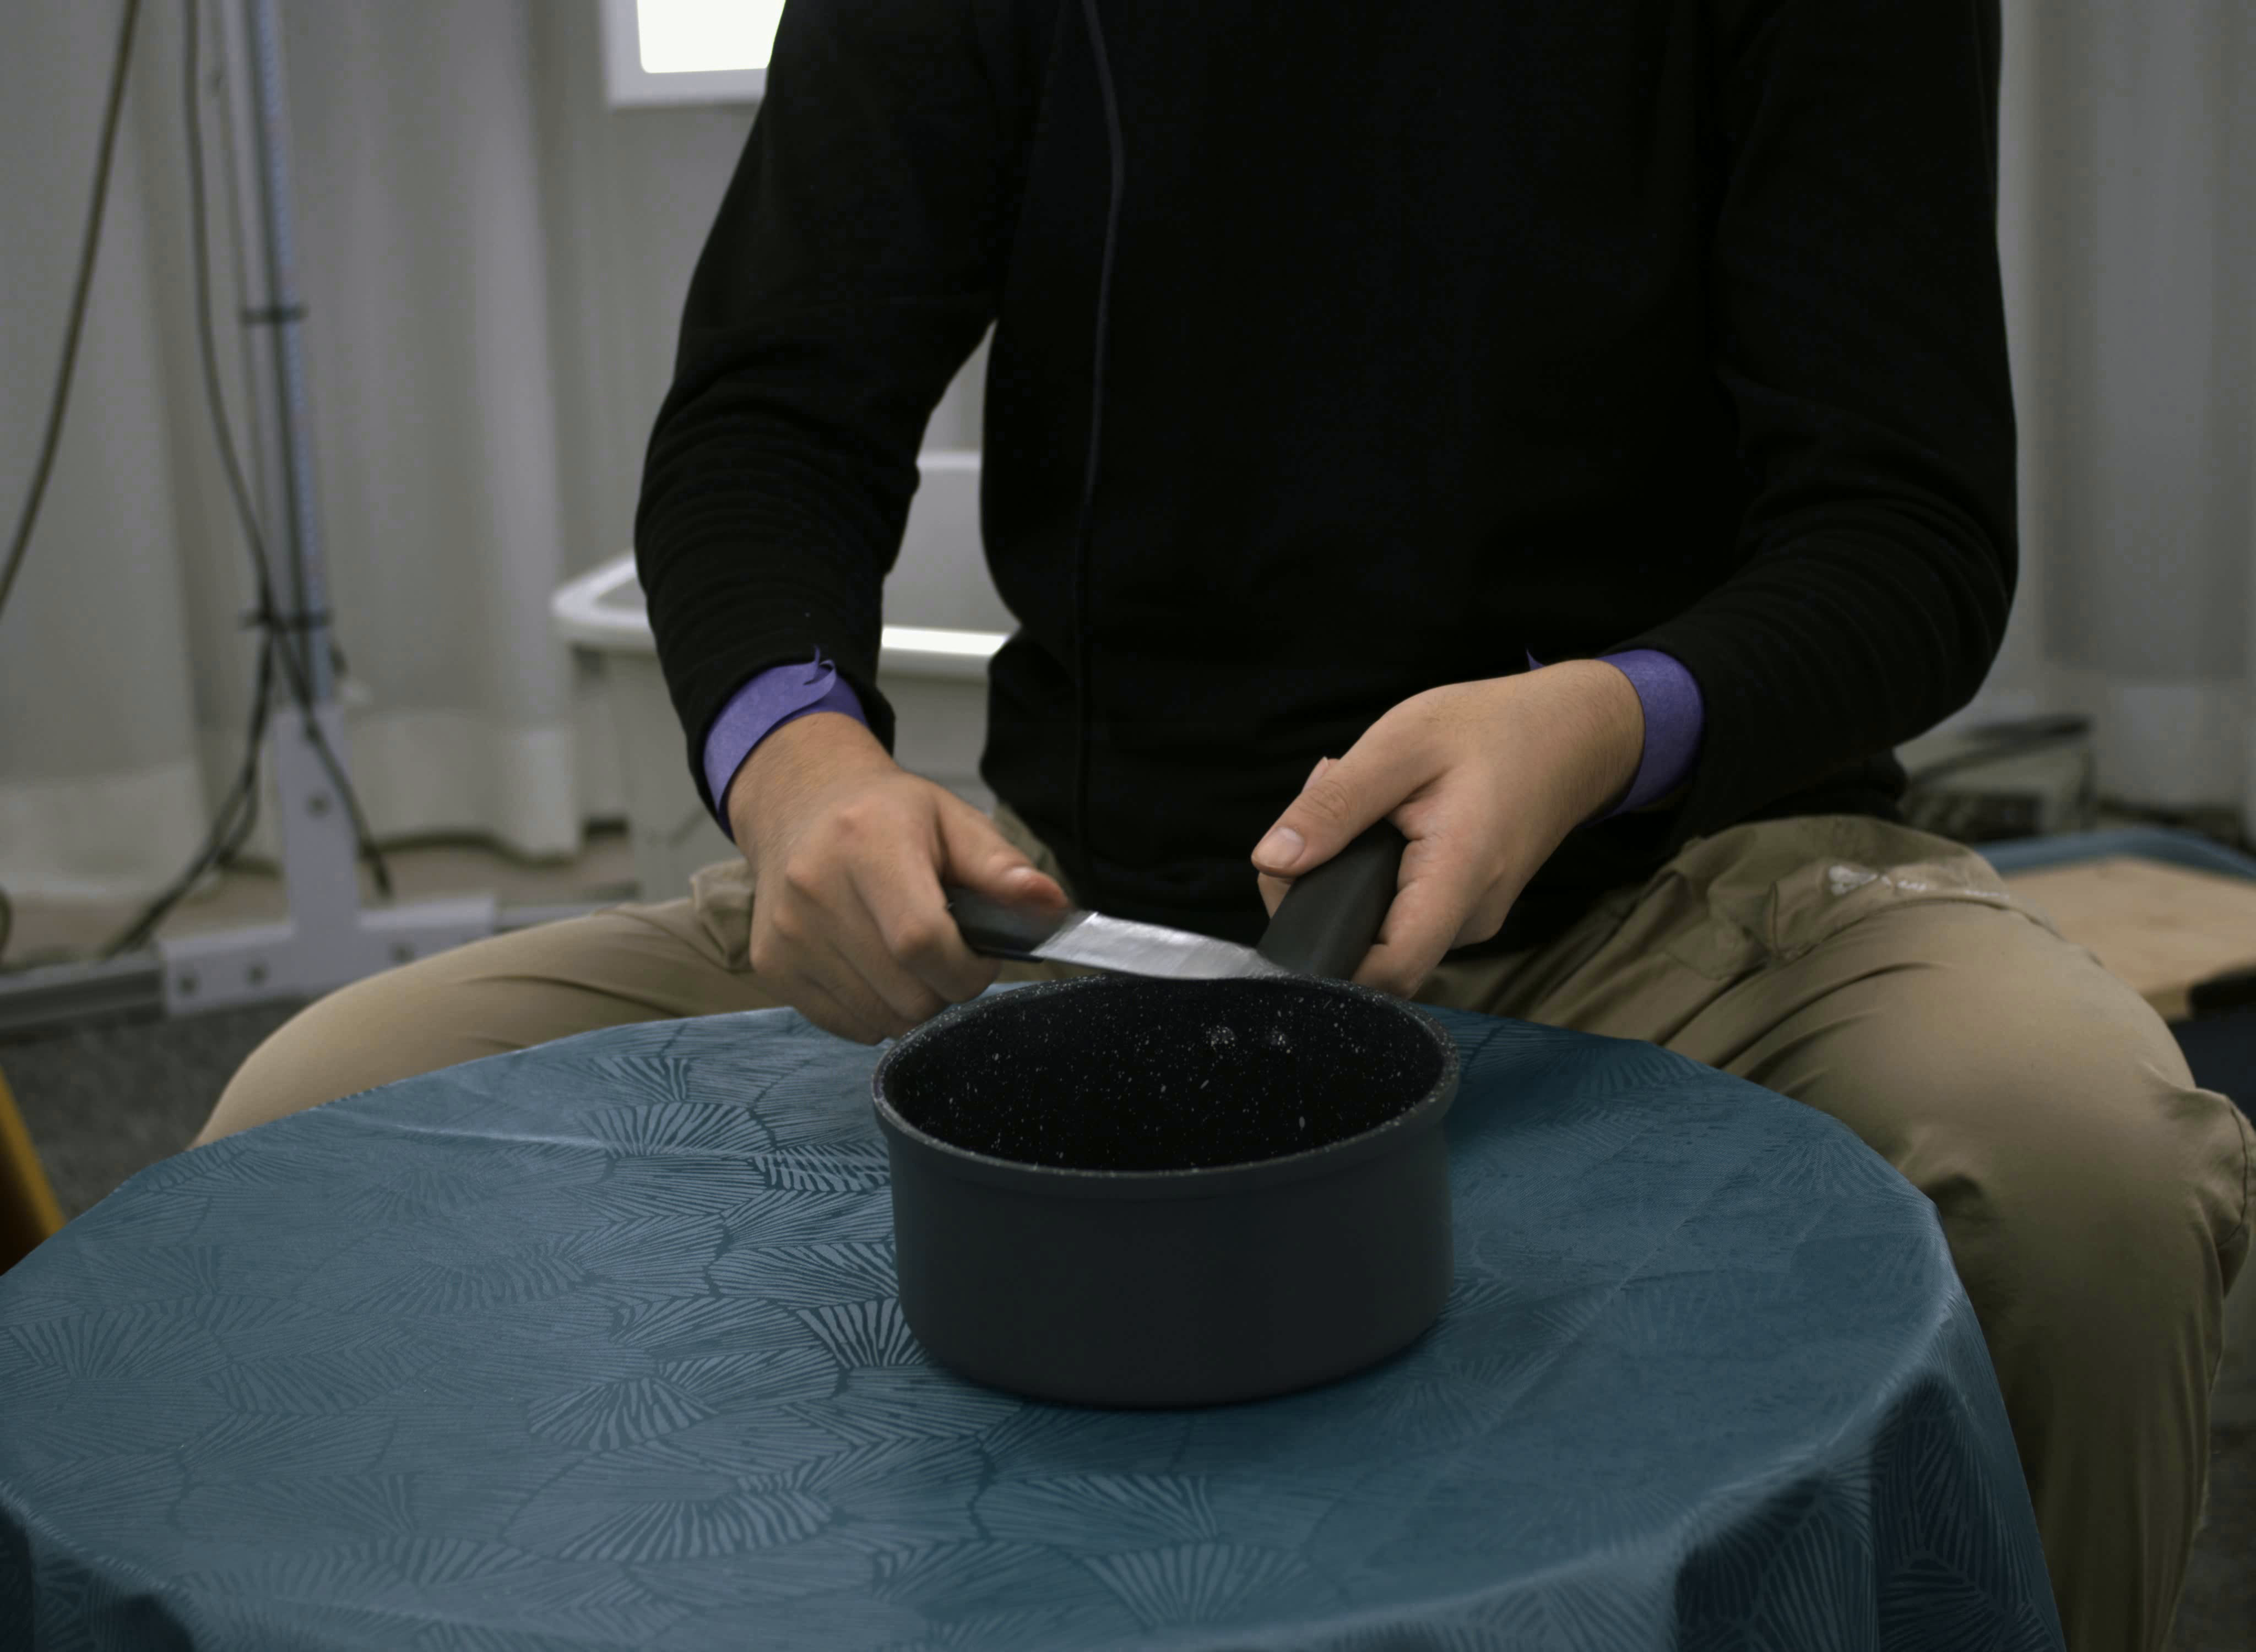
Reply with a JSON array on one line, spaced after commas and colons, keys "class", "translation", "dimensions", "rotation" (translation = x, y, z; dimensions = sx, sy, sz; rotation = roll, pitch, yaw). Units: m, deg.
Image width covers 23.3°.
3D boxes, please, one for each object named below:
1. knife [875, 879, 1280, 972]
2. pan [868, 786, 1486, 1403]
[{"class": "knife", "translation": [-0.019, 0.034, 1.699], "dimensions": [0.024, 0.016, 0.239], "rotation": [-39, 22, -23]}, {"class": "pan", "translation": [0.041, 0.077, 1.660], "dimensions": [0.172, 0.086, 0.330], "rotation": [4, 20, 22]}]
